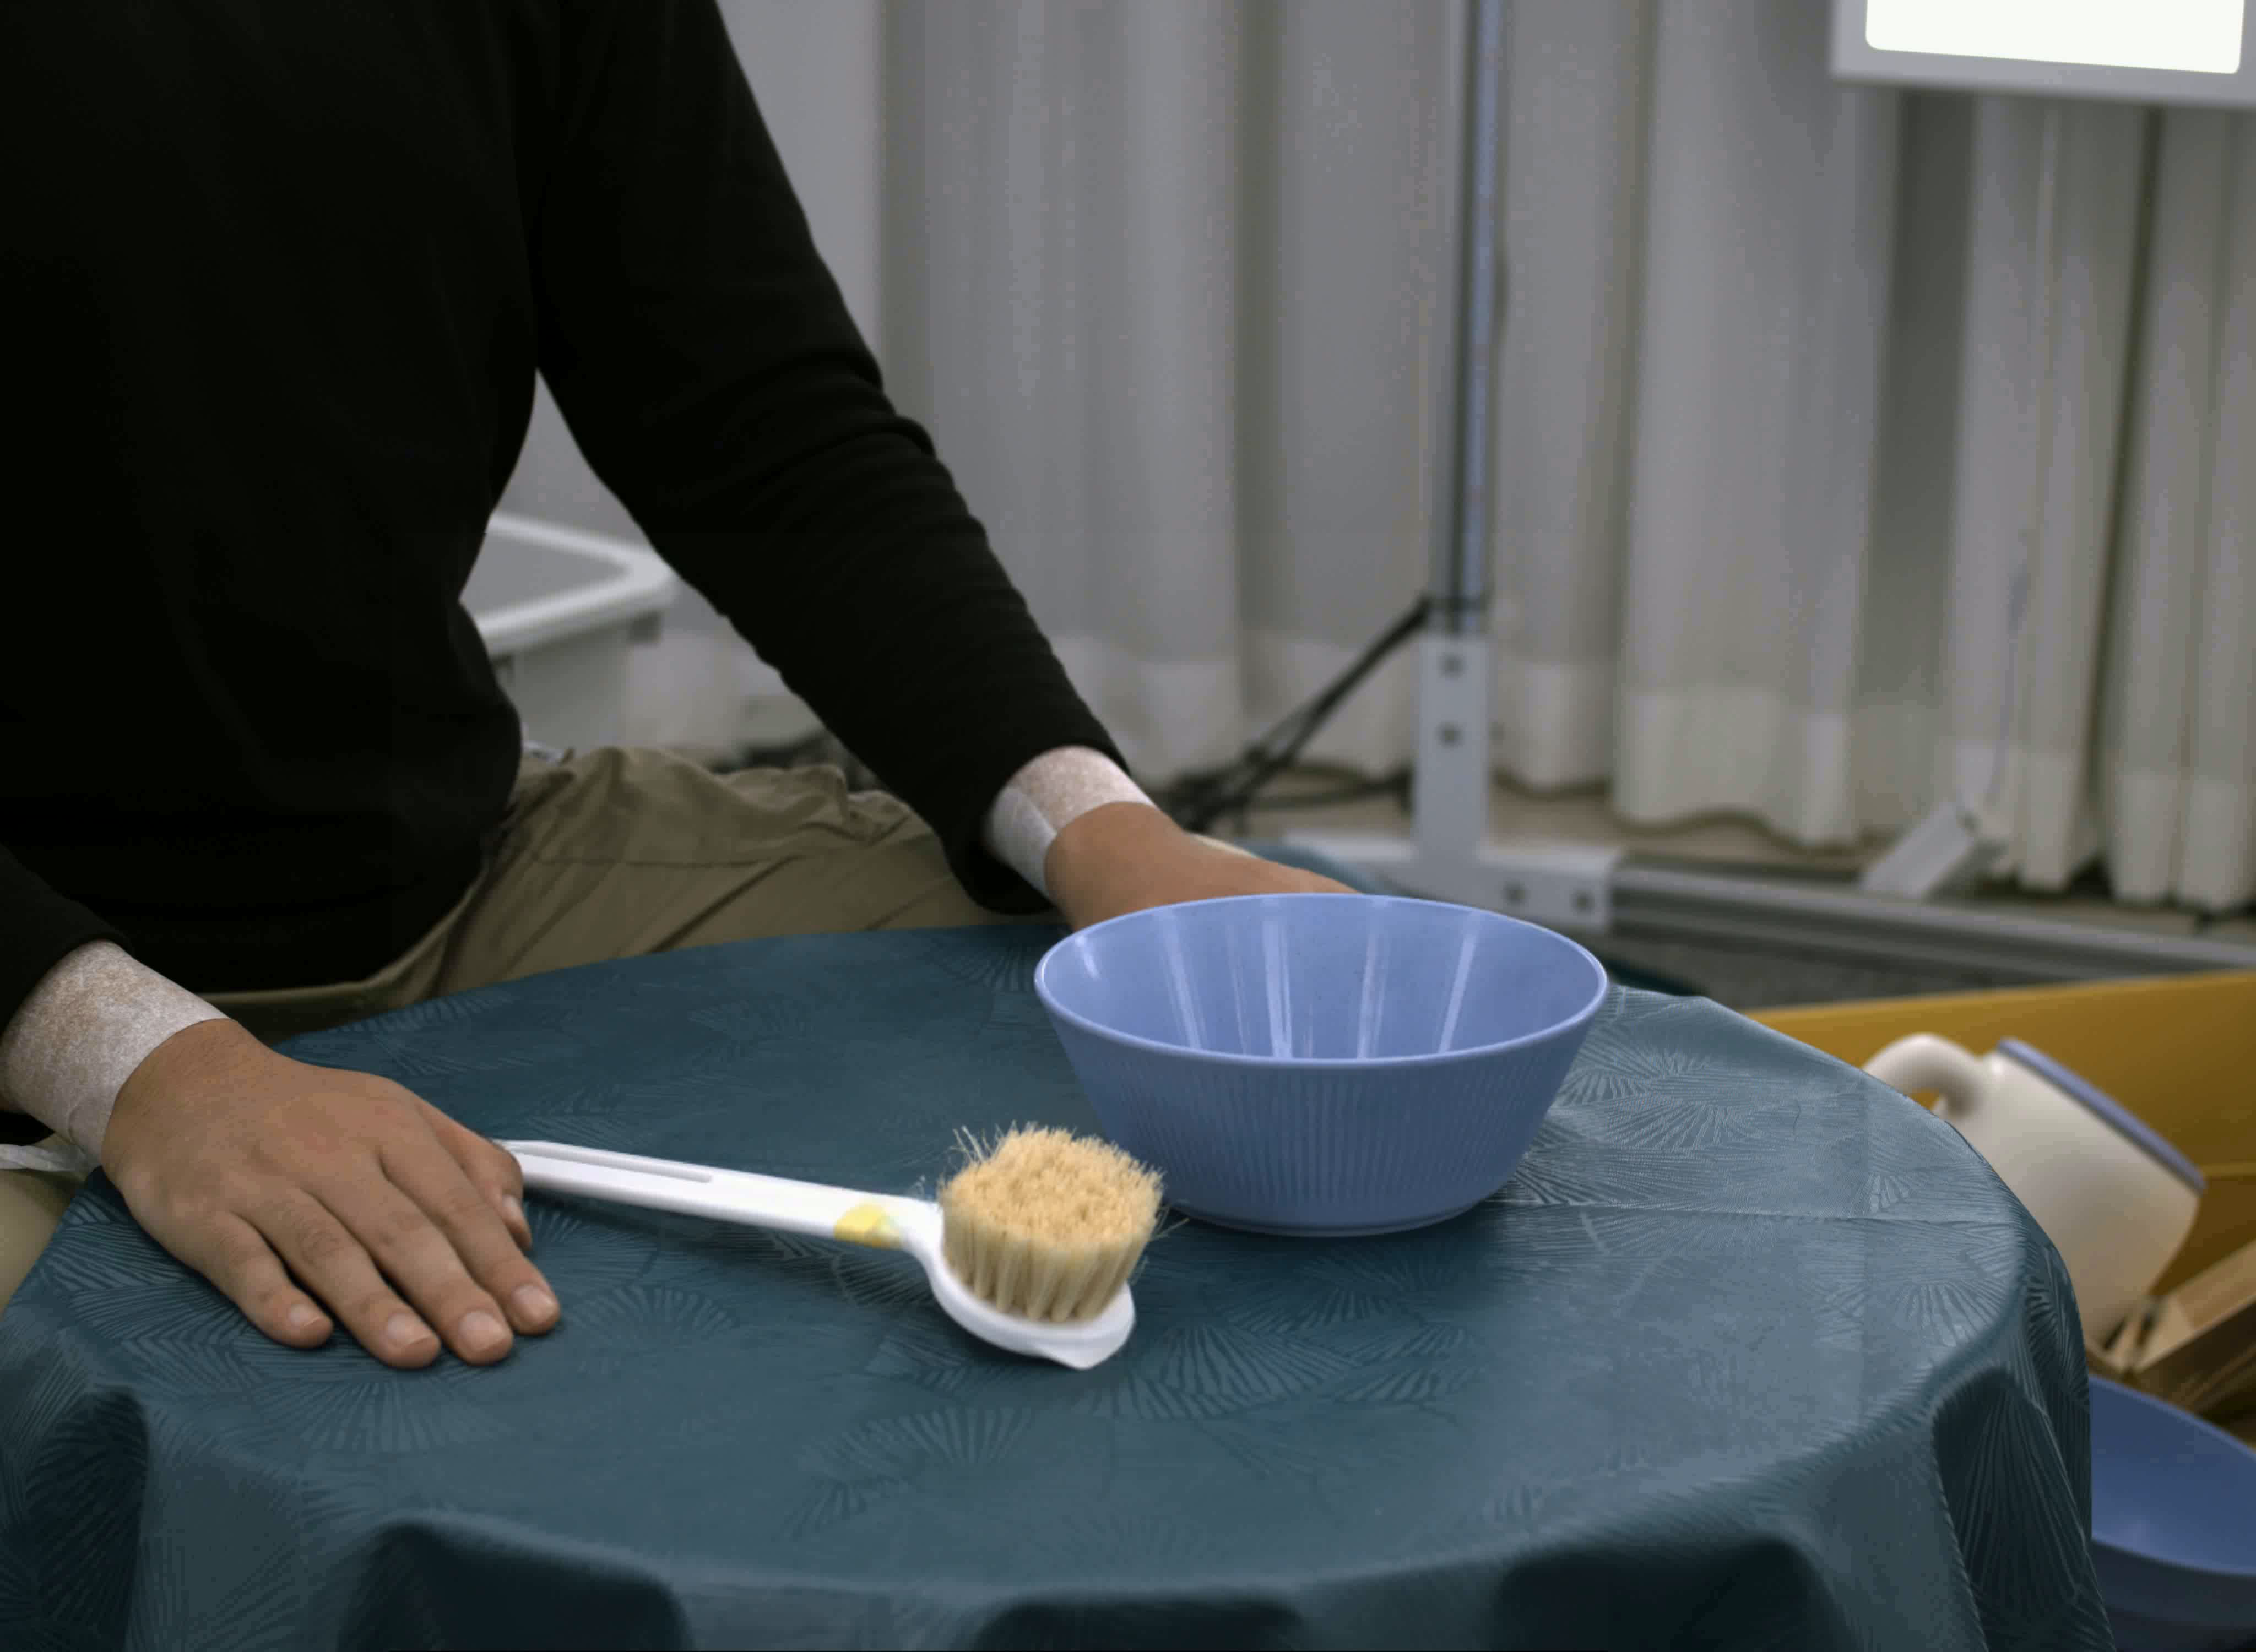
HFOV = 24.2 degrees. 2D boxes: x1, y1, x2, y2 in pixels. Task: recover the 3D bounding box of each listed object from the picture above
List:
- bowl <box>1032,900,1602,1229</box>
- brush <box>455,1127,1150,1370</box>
[{"bbox_3d":[0.058,0.075,1.621,0.175,0.071,0.175,0,14,0],"label":"bowl"},{"bbox_3d":[-0.104,0.104,1.548,0.263,0.056,0.069,12,15,39],"label":"brush"}]
